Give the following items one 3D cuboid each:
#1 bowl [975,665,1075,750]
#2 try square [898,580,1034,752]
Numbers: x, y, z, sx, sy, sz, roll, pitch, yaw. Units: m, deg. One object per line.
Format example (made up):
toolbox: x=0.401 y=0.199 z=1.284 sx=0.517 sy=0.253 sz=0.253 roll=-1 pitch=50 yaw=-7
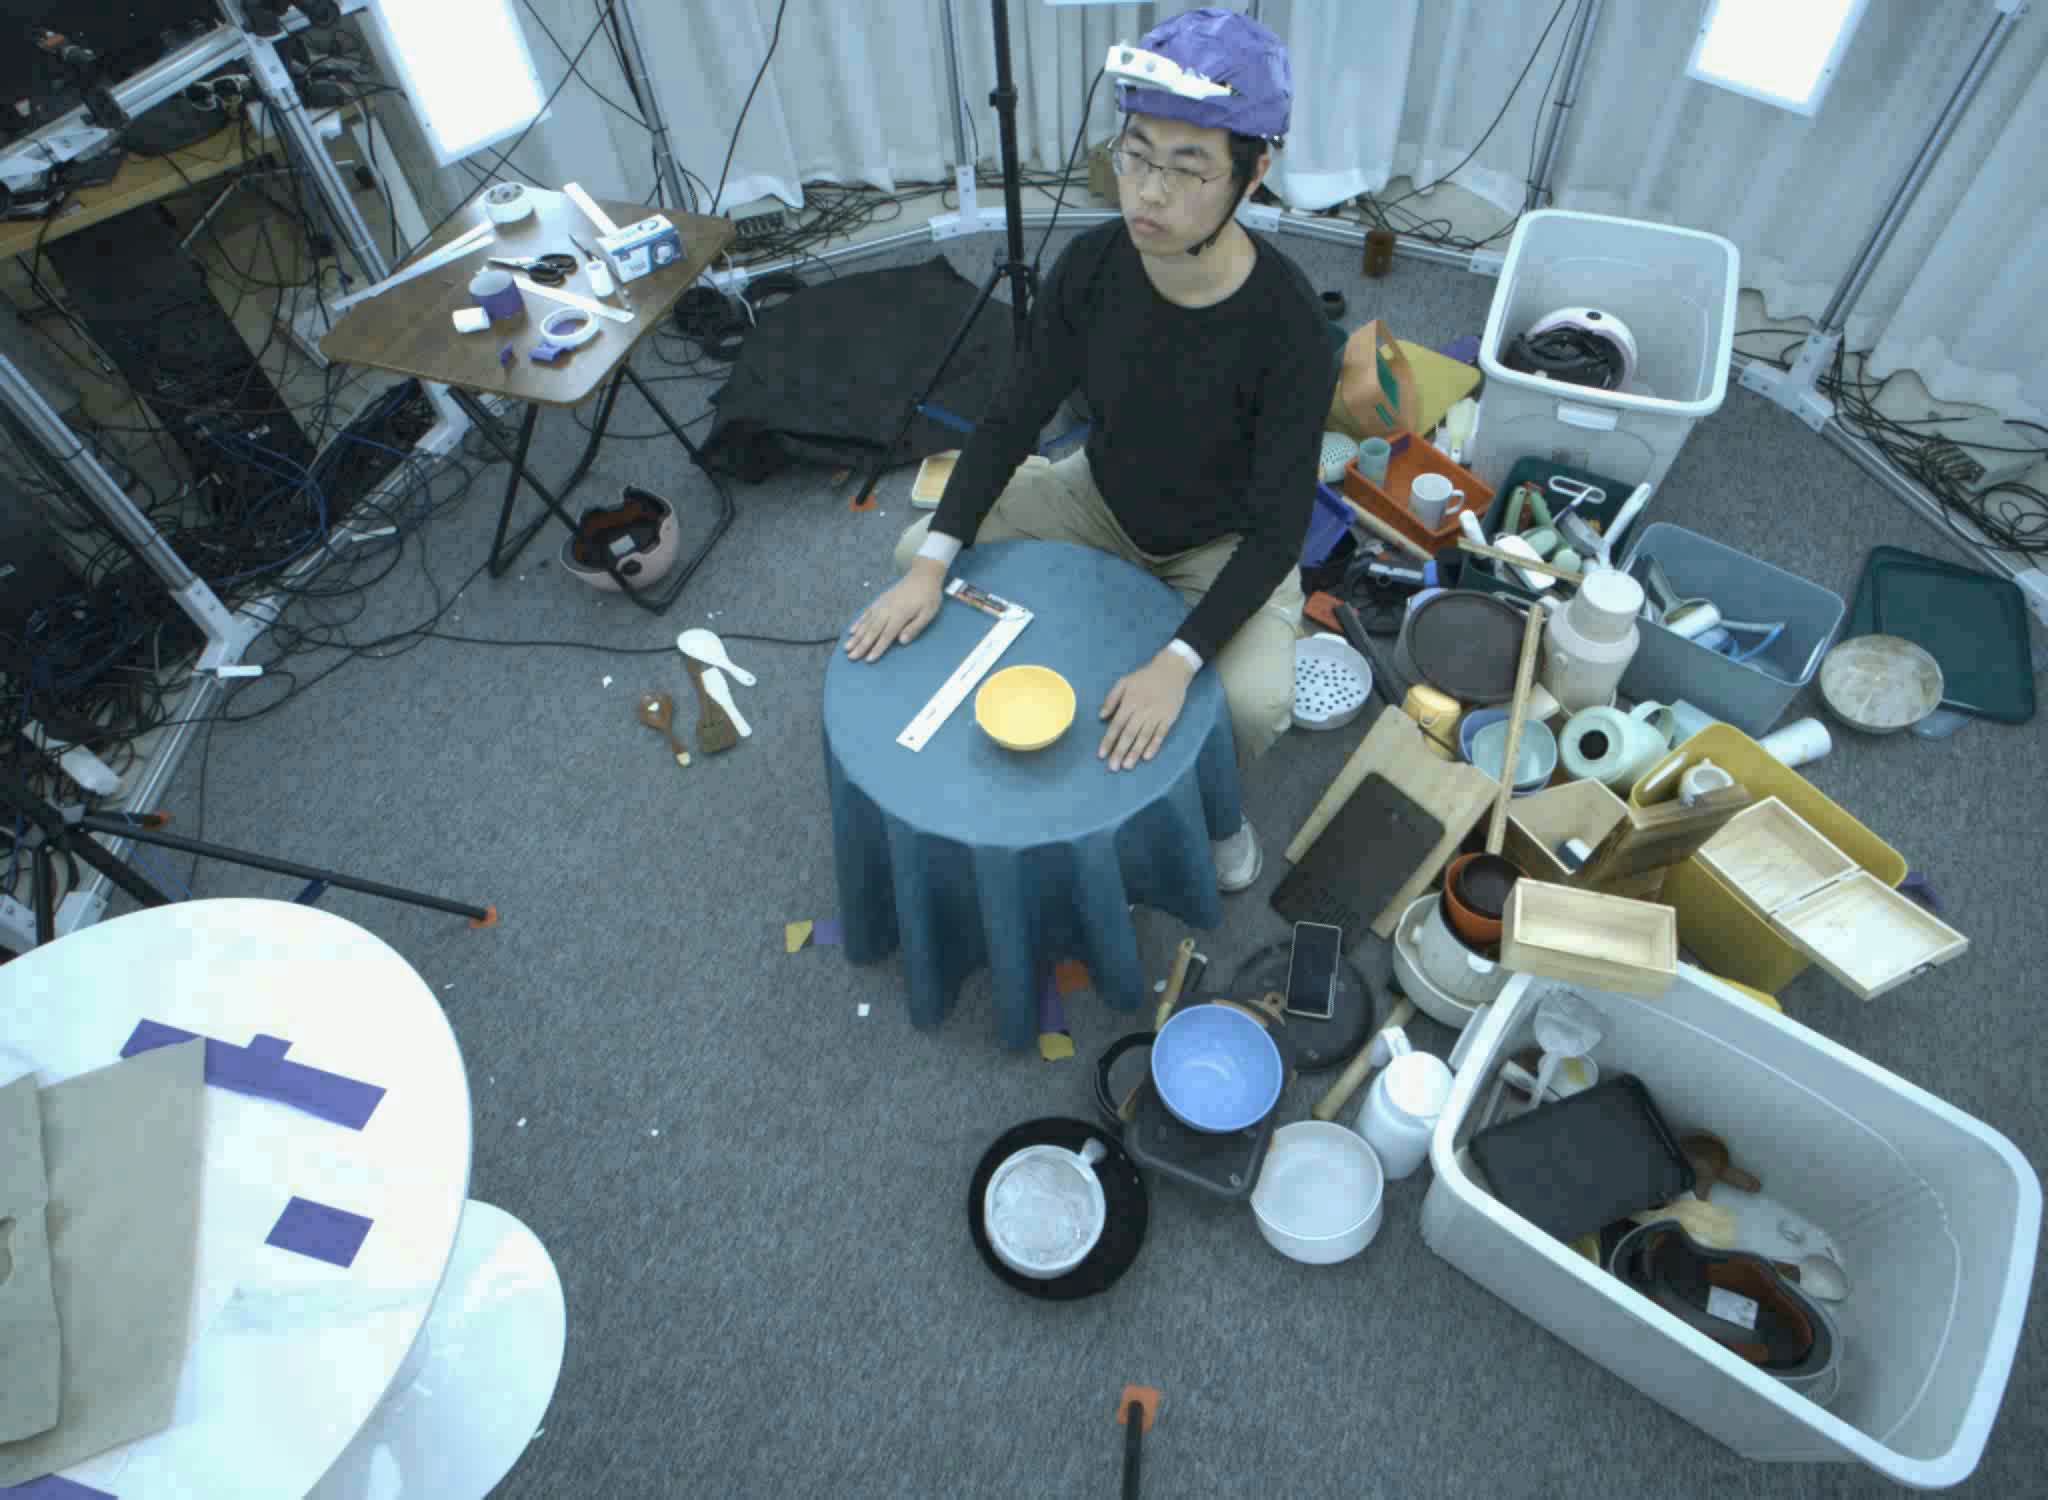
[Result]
bowl: x=0.001 y=-0.050 z=1.790 sx=0.145 sy=0.060 sz=0.144 roll=1 pitch=54 yaw=0
try square: x=-0.129 y=-0.136 z=1.887 sx=0.150 sy=0.016 sz=0.314 roll=25 pitch=60 yaw=23
